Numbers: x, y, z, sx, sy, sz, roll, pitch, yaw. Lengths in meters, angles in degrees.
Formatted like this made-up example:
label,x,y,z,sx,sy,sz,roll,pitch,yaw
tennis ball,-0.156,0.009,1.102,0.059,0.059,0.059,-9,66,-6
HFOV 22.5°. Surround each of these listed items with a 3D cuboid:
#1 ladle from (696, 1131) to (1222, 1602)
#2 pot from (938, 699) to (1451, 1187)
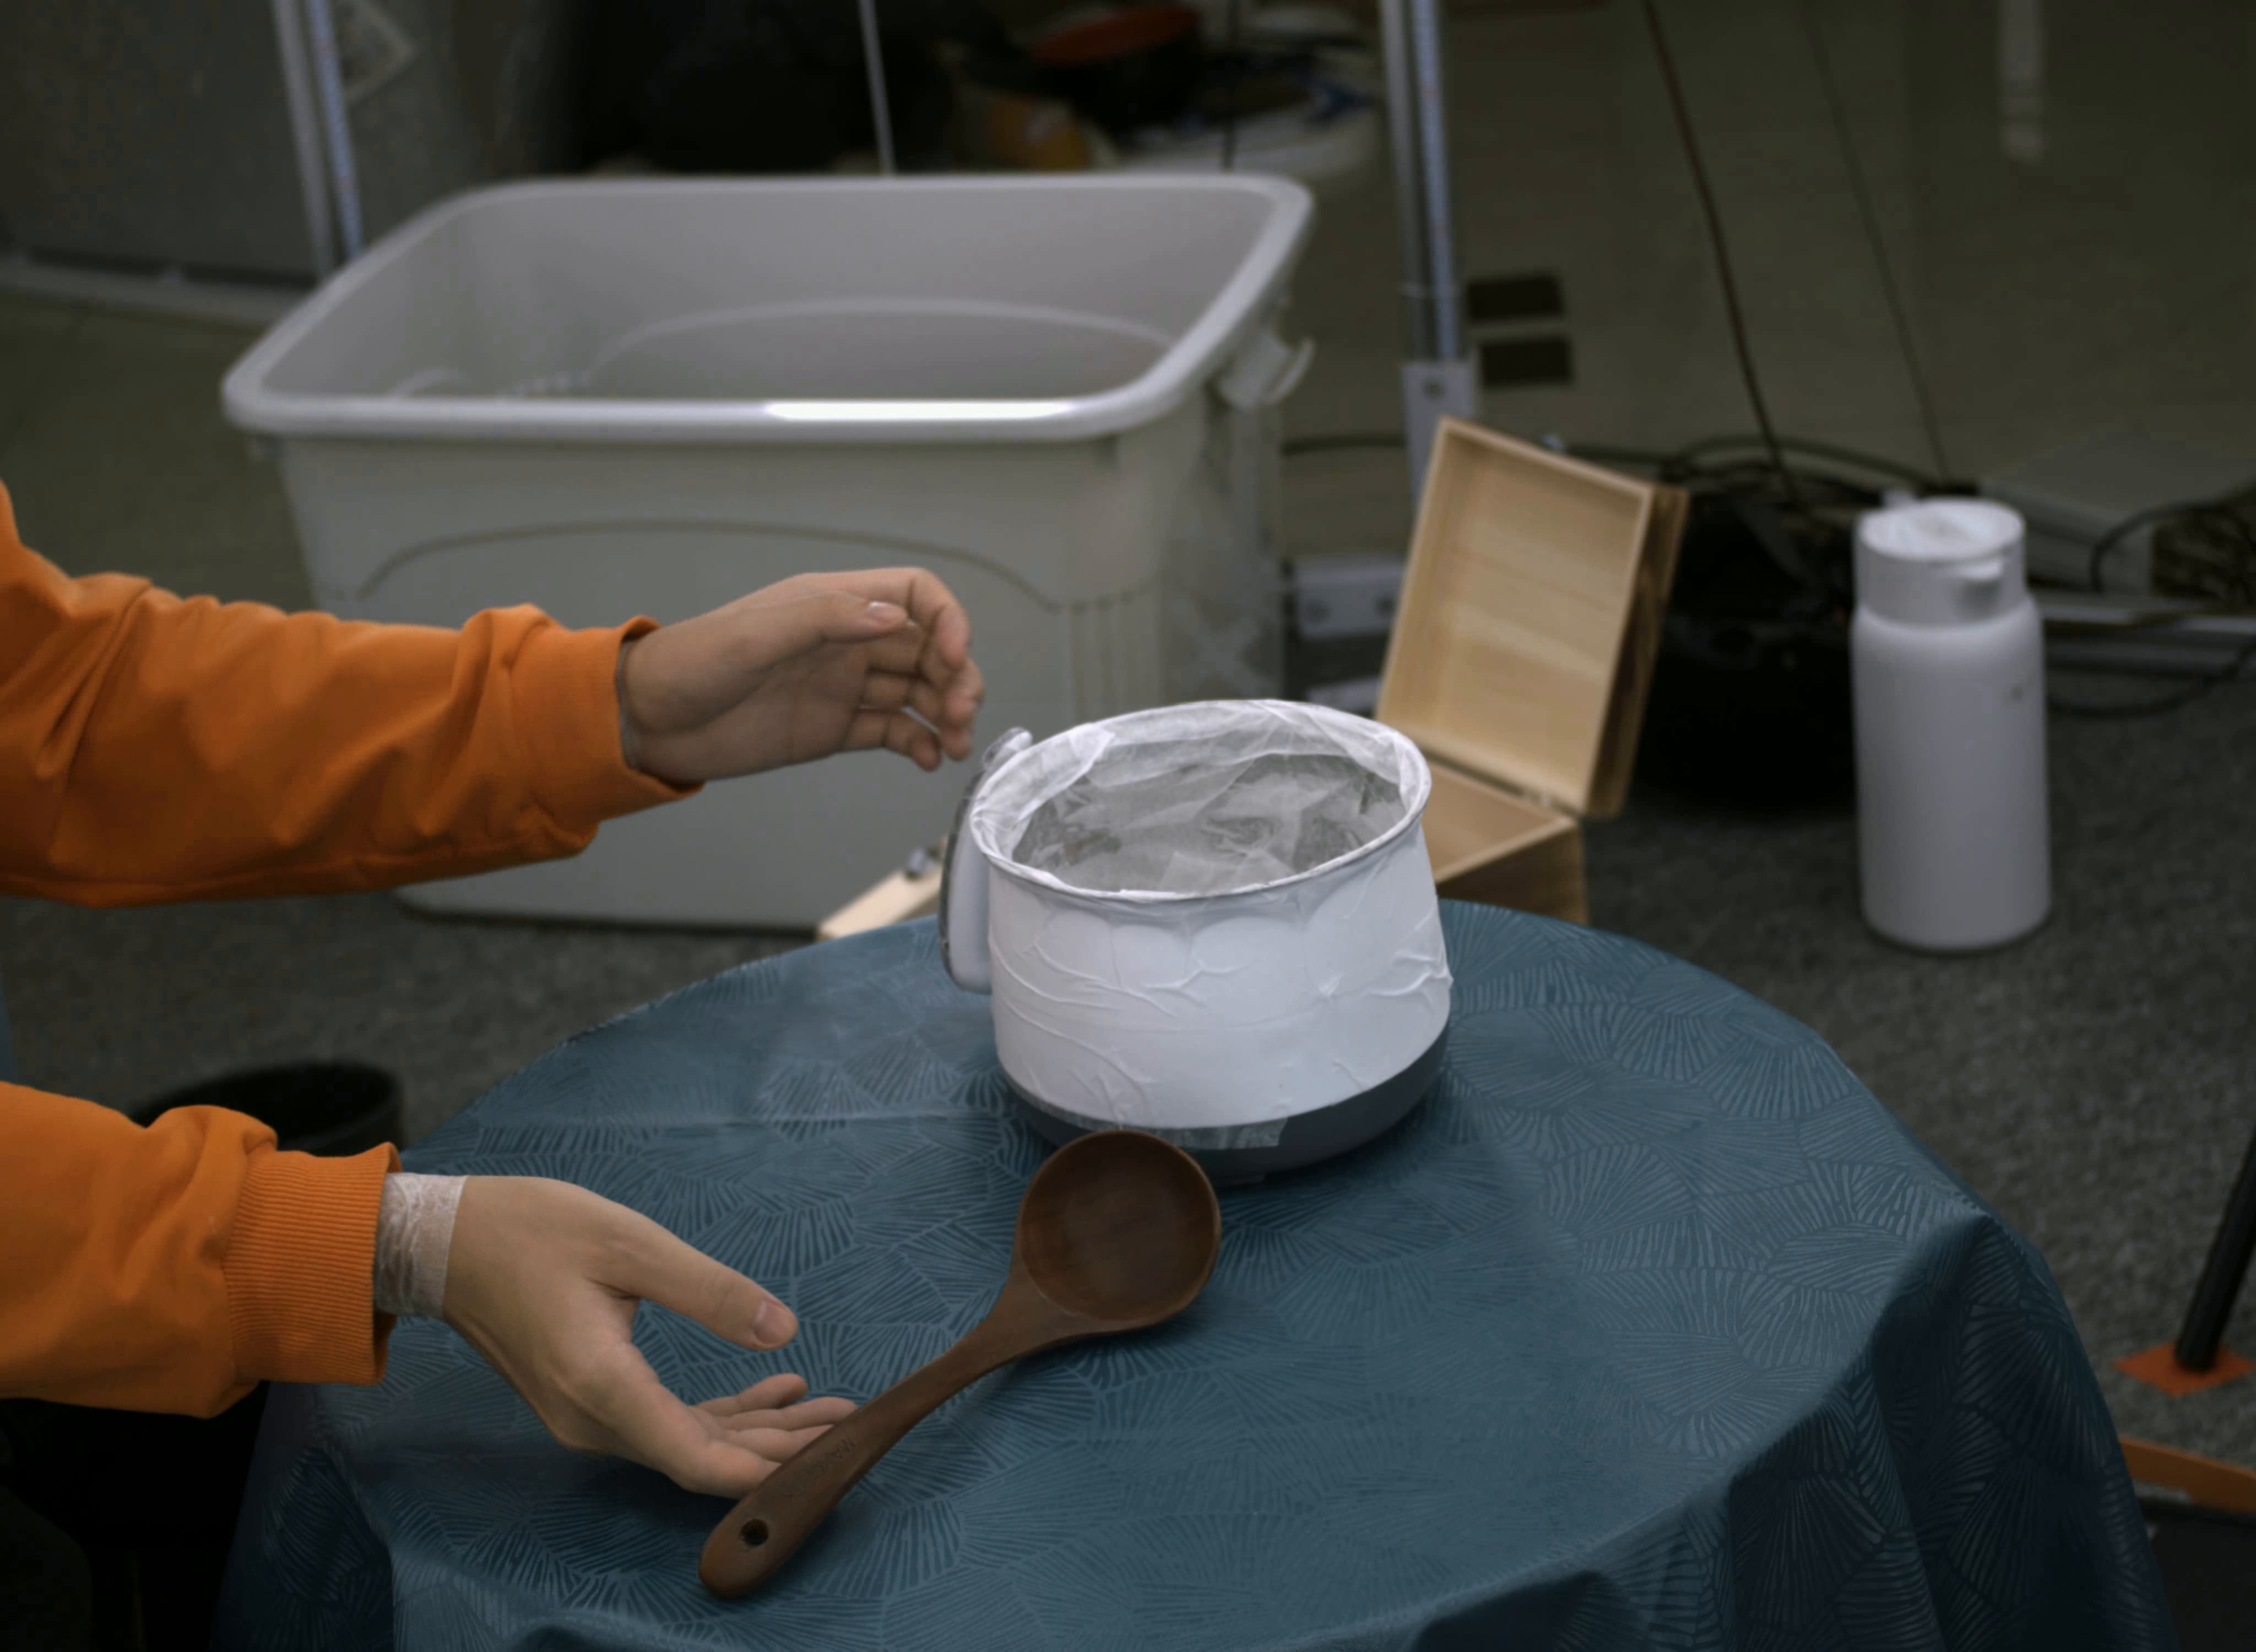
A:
label,x,y,z,sx,sy,sz,roll,pitch,yaw
ladle,-0.060,0.187,1.987,0.076,0.066,0.257,35,41,20
pot,0.013,0.040,2.192,0.232,0.139,0.177,17,33,39
